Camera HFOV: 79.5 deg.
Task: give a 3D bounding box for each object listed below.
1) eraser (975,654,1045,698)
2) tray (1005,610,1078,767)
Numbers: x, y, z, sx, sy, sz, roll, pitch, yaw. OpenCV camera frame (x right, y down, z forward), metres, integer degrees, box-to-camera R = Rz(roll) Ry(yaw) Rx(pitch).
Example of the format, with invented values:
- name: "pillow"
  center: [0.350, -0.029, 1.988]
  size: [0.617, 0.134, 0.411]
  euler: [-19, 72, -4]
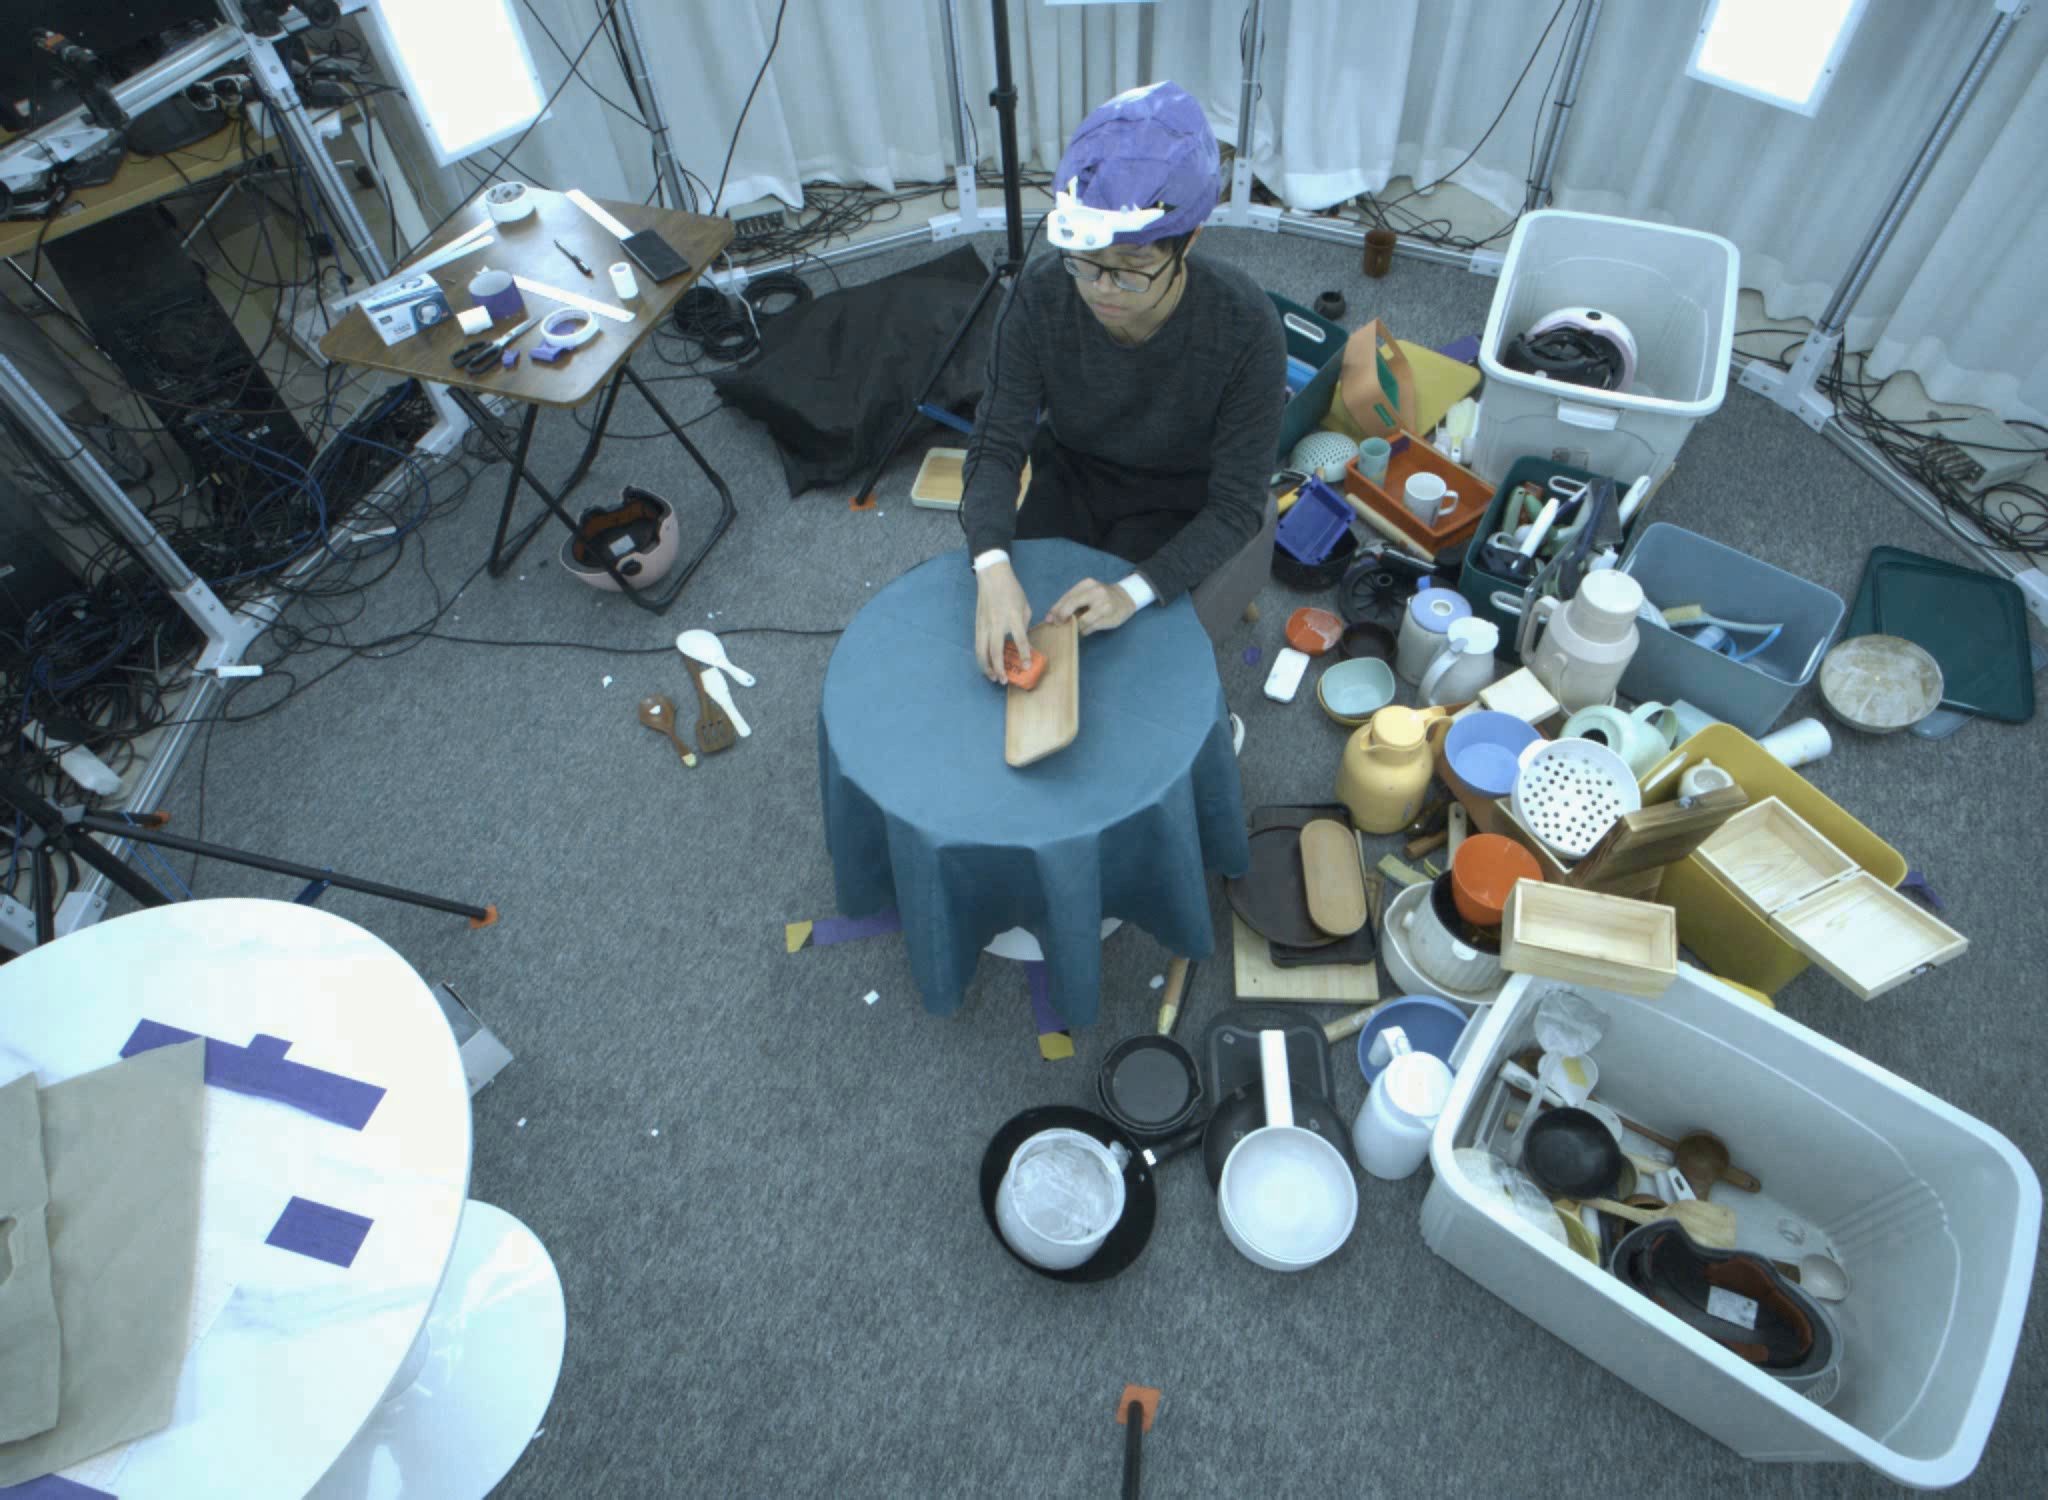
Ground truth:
- name: "eraser"
  center: [-0.022, -0.110, 1.834]
  size: [0.106, 0.023, 0.059]
  euler: [-3, 61, 39]
- name: "tray"
  center: [0.027, -0.092, 1.801]
  size: [0.129, 0.023, 0.248]
  euler: [-21, 48, 30]
